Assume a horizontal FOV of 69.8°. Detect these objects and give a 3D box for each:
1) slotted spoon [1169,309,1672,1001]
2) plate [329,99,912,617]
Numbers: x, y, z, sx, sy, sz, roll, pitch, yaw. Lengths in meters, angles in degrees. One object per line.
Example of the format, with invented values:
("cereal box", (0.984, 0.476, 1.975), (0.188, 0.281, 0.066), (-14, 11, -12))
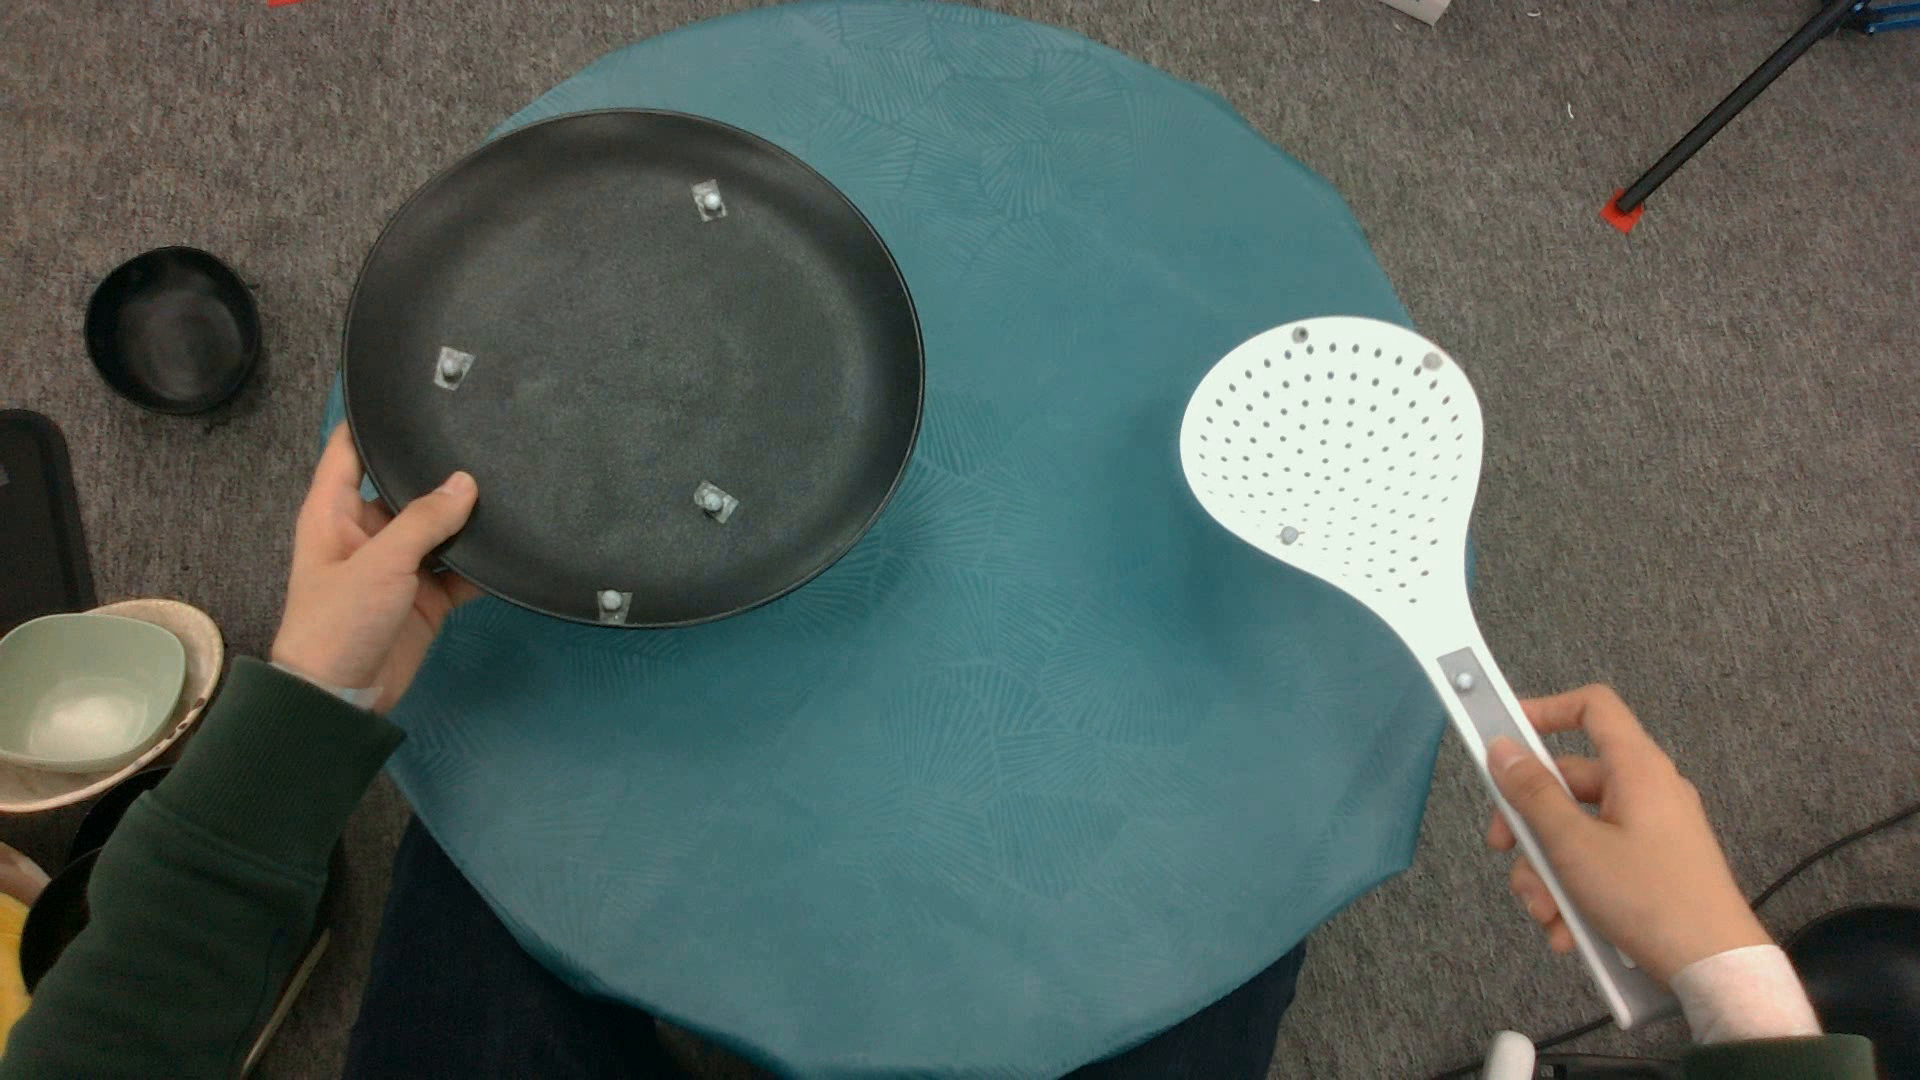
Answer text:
("slotted spoon", (0.200, 0.029, 0.599), (0.136, 0.045, 0.351), (-21, 50, 2))
("plate", (-0.142, -0.082, 0.601), (0.244, 0.023, 0.245), (4, 72, -11))
